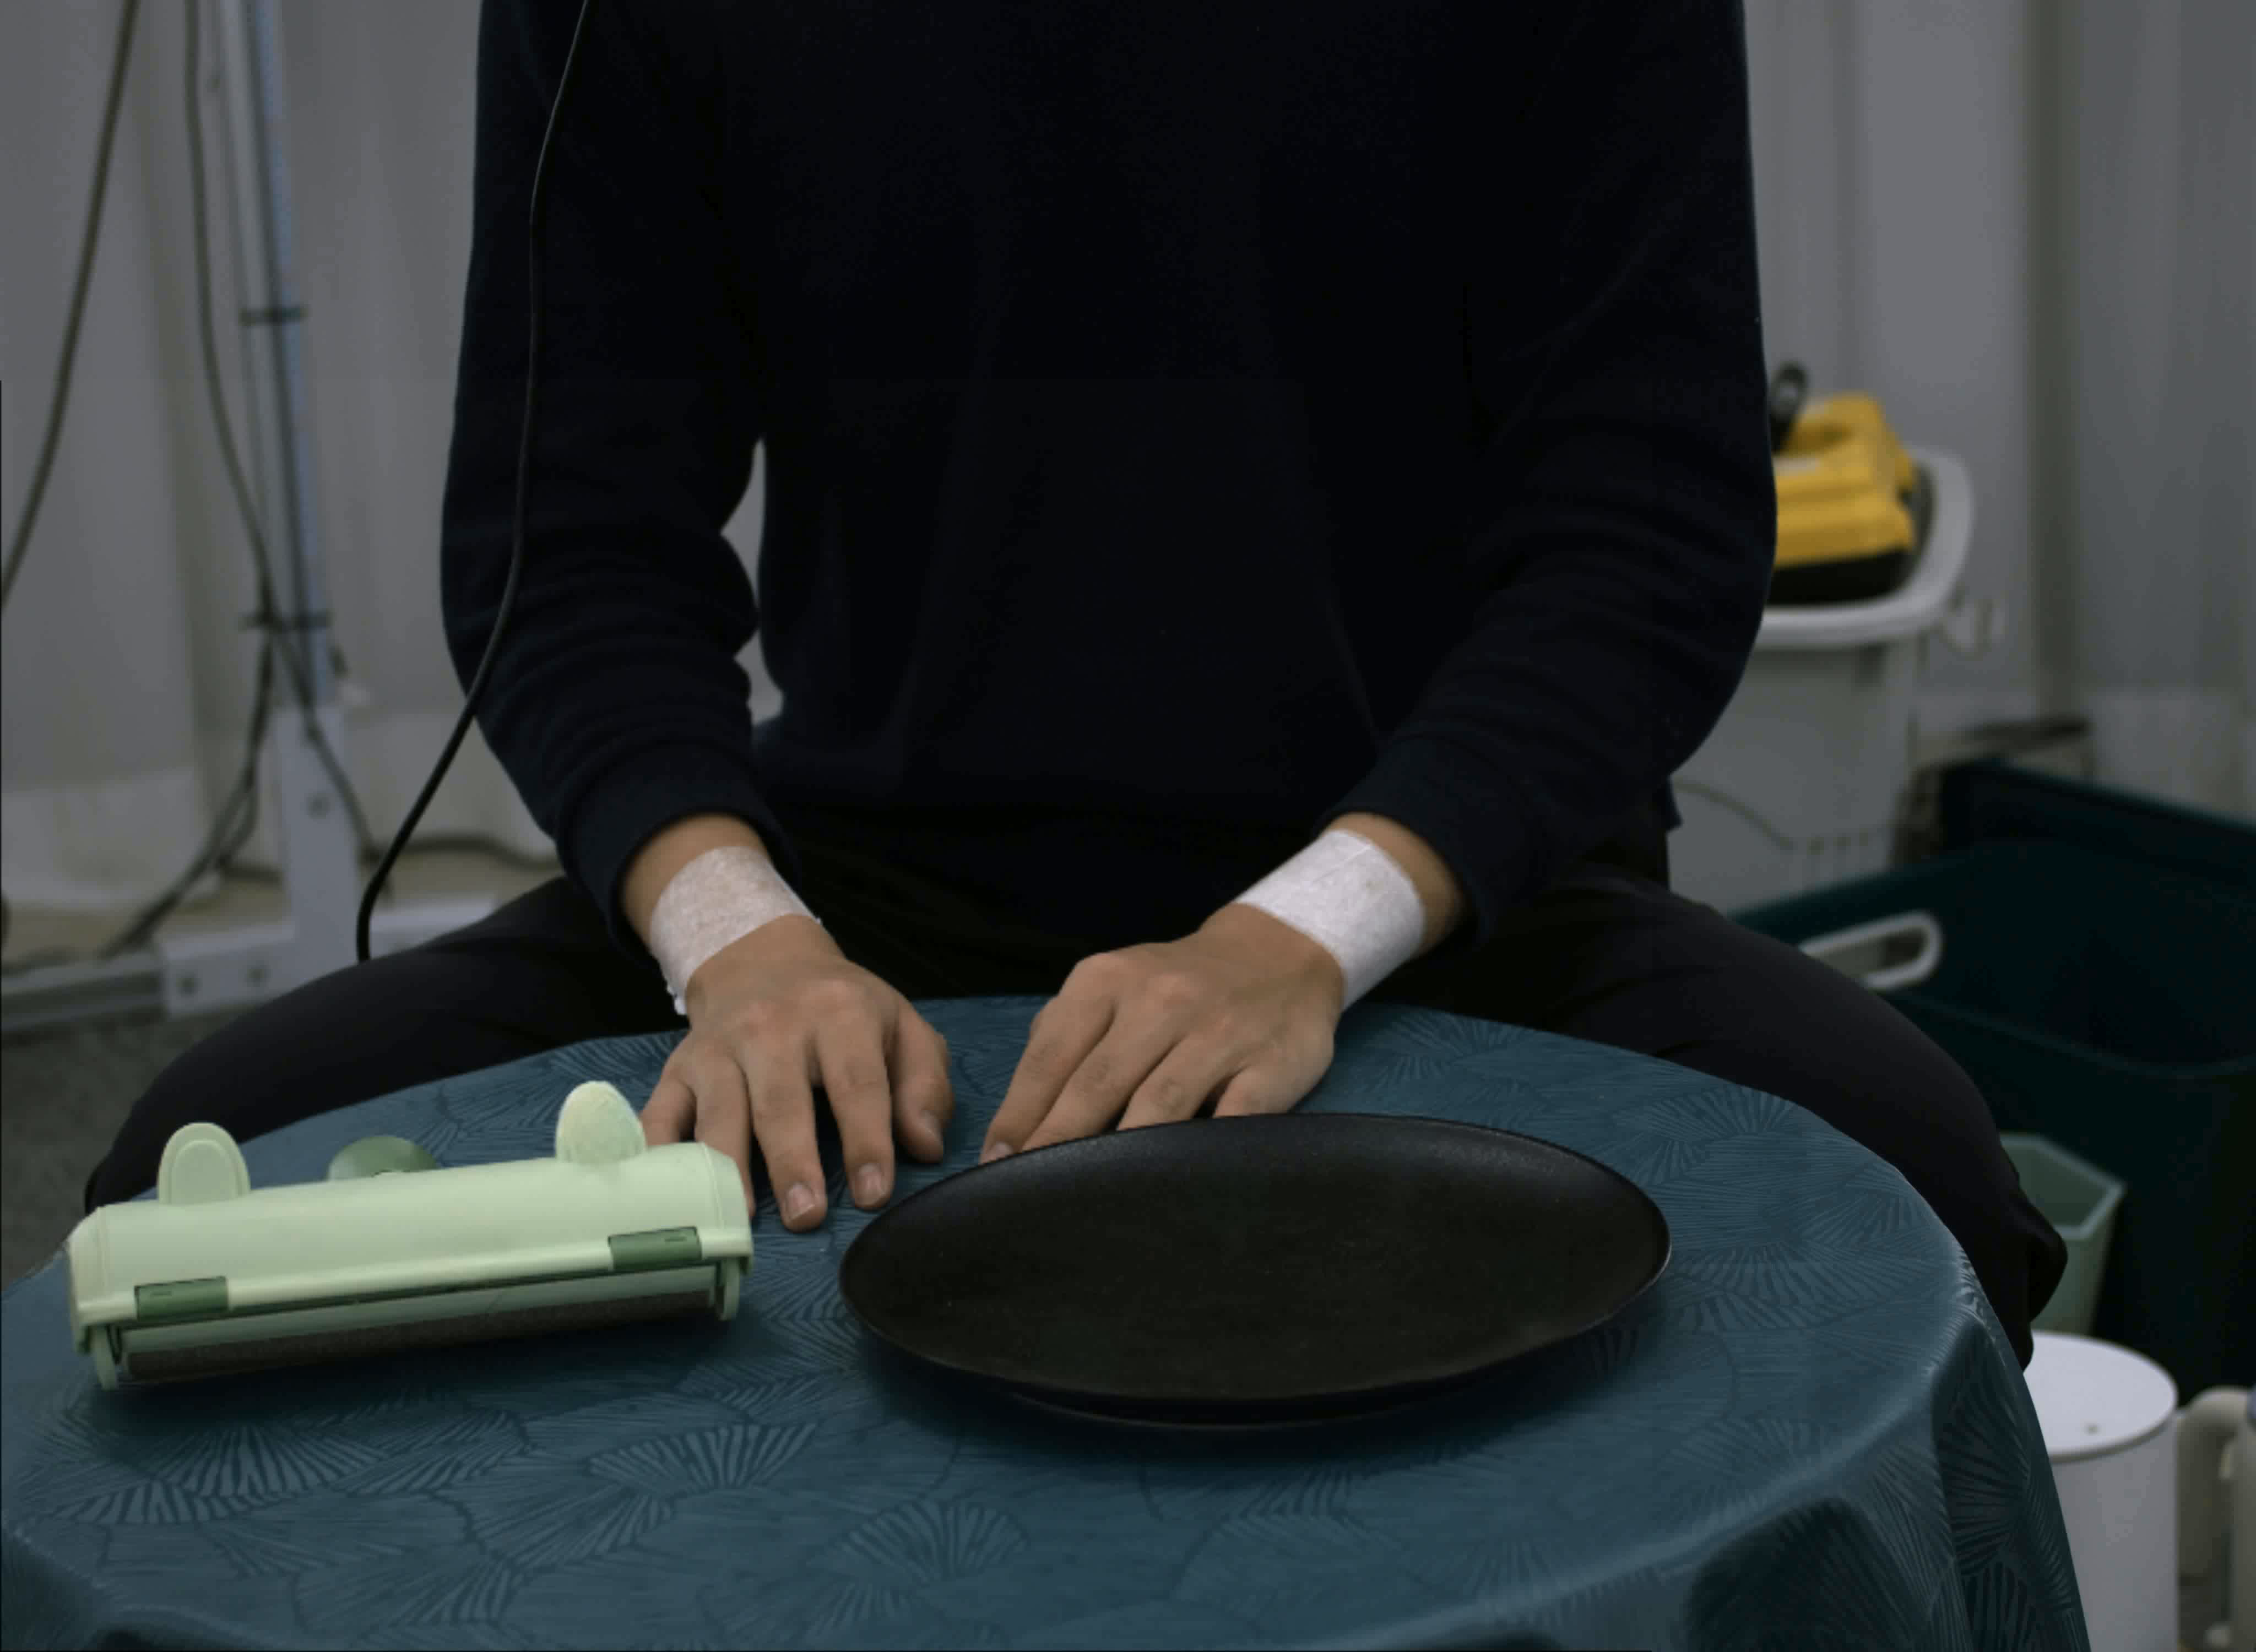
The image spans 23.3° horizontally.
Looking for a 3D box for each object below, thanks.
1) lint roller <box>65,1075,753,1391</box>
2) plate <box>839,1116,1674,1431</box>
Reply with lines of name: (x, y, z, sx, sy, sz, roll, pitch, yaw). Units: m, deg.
lint roller: (-0.222, 0.101, 1.644, 0.198, 0.081, 0.185, -5, 21, -12)
plate: (0.038, 0.133, 1.595, 0.243, 0.023, 0.246, -3, 15, 0)
